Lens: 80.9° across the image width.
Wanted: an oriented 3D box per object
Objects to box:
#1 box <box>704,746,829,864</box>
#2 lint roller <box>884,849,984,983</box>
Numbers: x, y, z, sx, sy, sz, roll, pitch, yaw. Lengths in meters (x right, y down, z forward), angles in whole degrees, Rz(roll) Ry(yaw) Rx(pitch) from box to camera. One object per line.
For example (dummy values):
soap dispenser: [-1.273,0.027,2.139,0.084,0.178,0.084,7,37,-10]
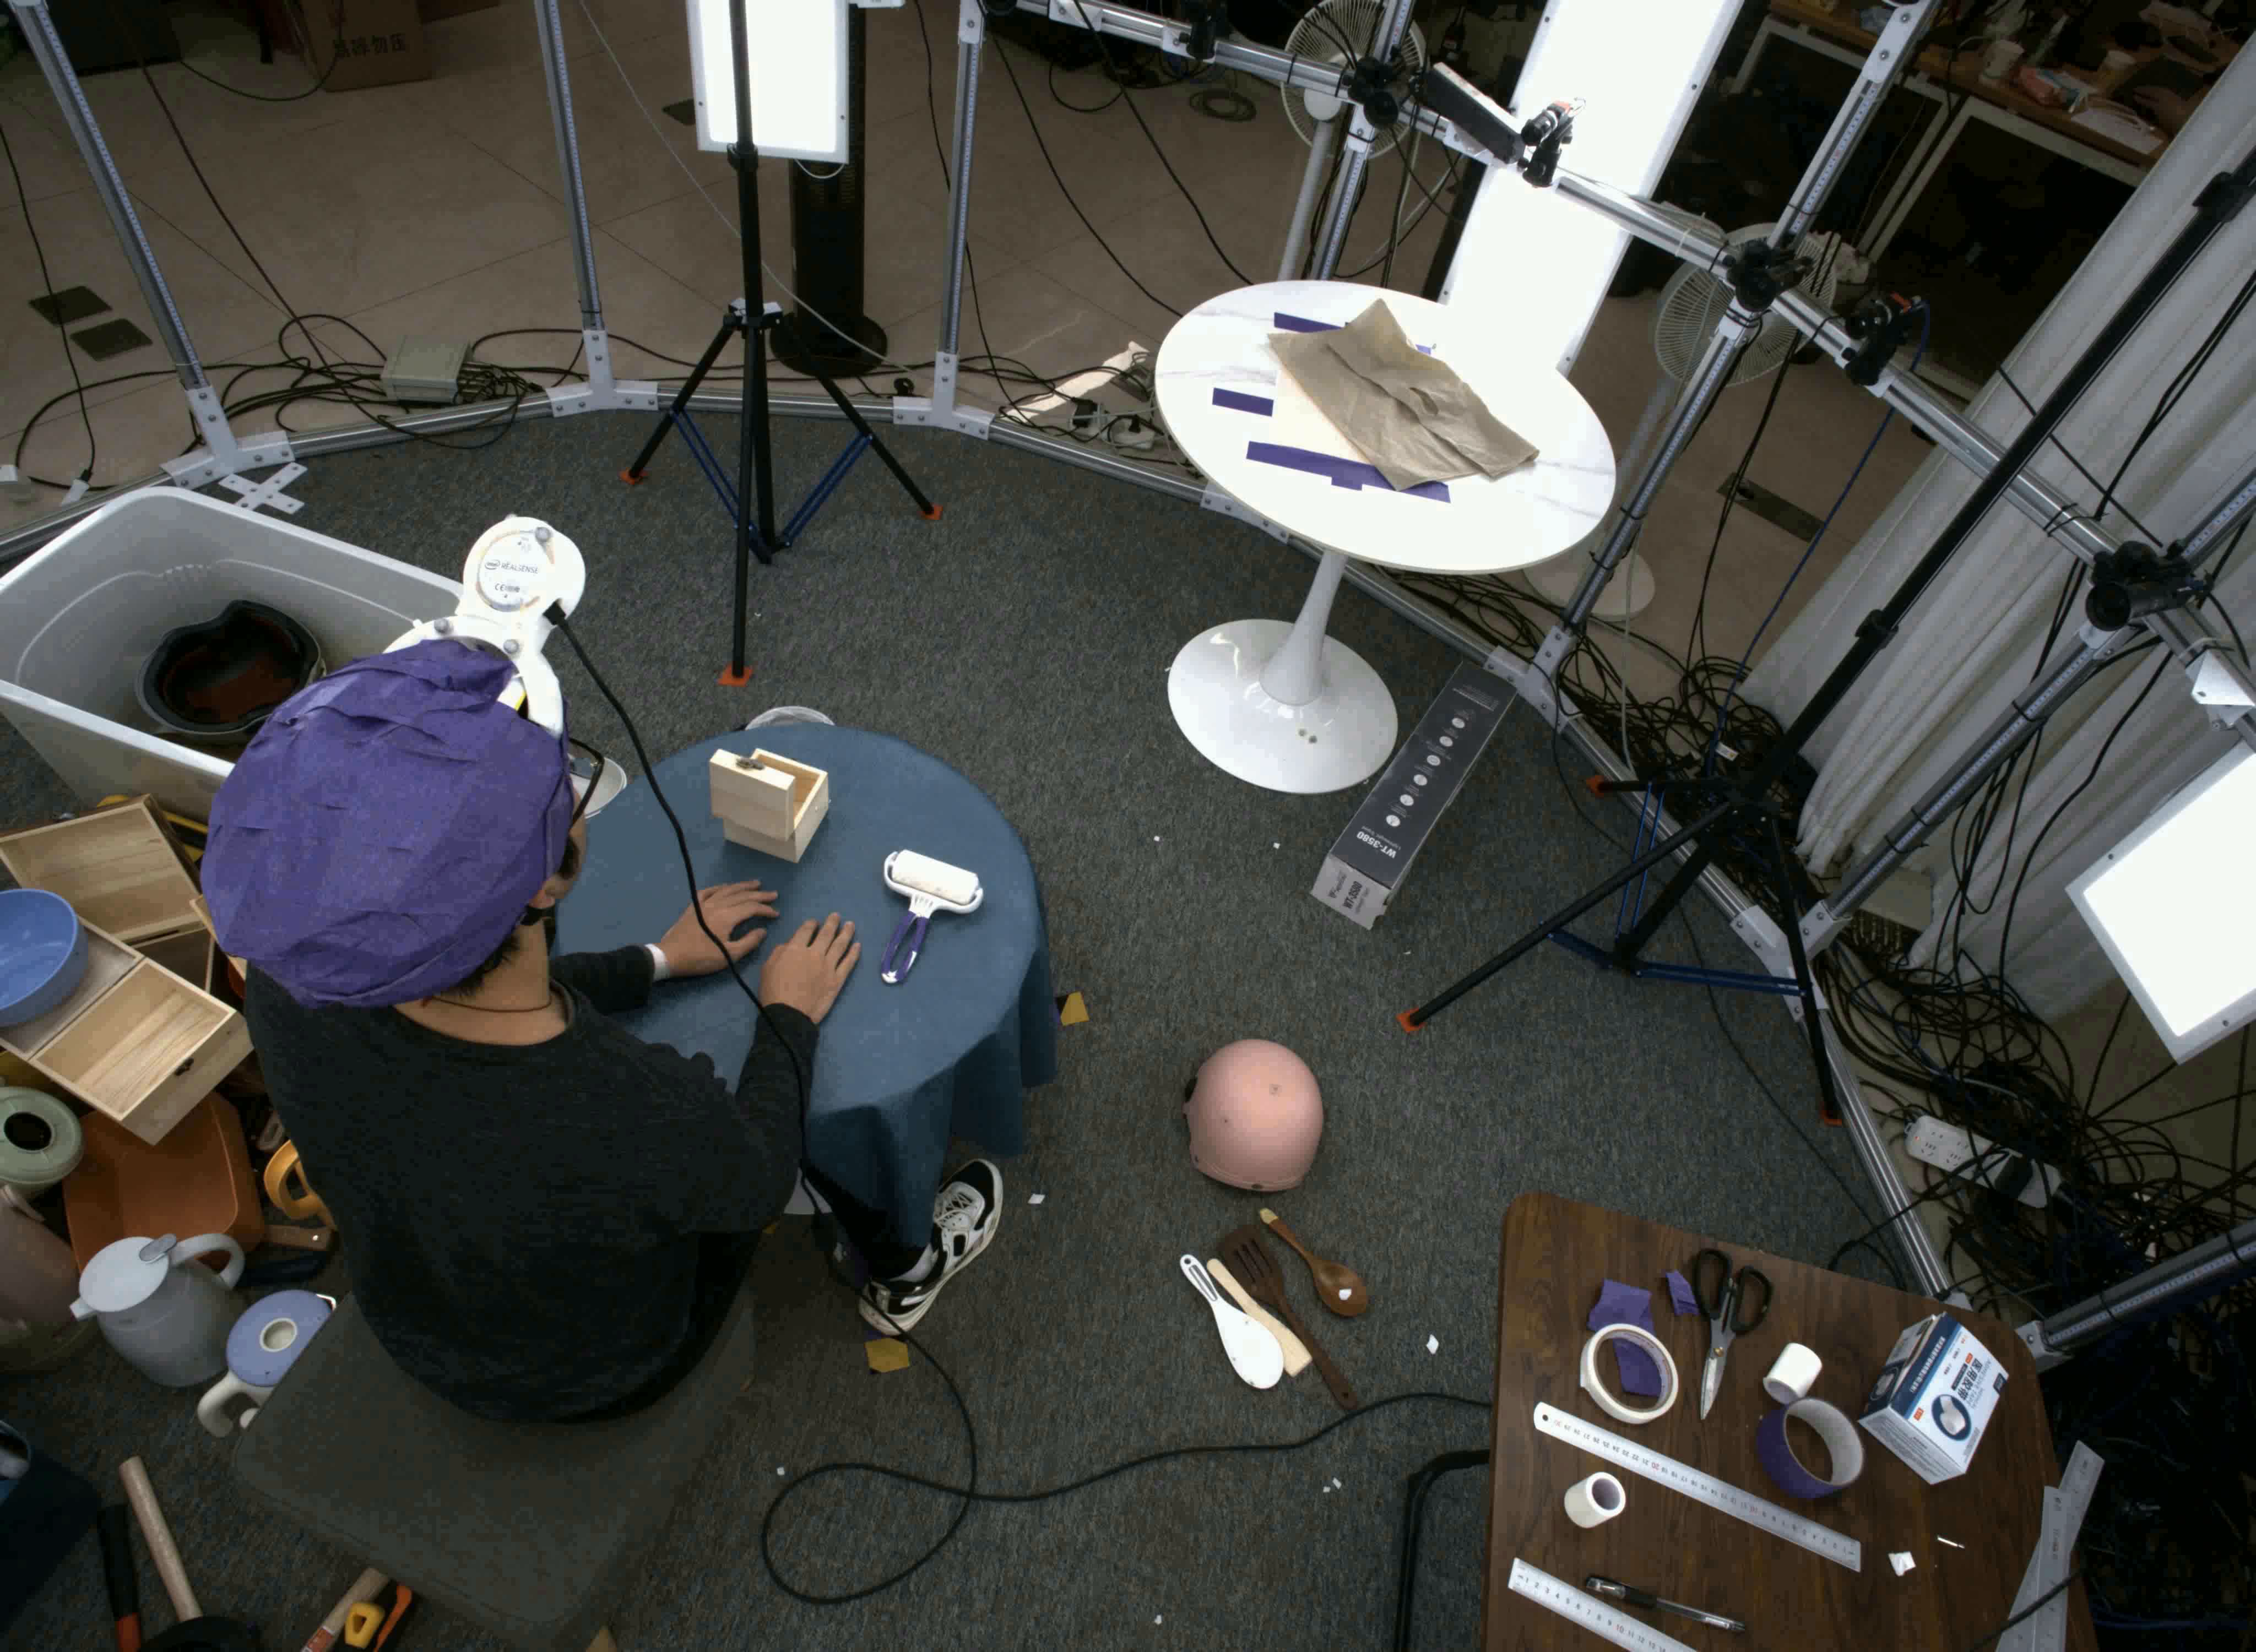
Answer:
box: [-0.452,-0.054,1.633,0.101,0.188,0.132,17,51,2]
lint roller: [-0.269,0.113,1.645,0.132,0.051,0.179,21,49,1]
